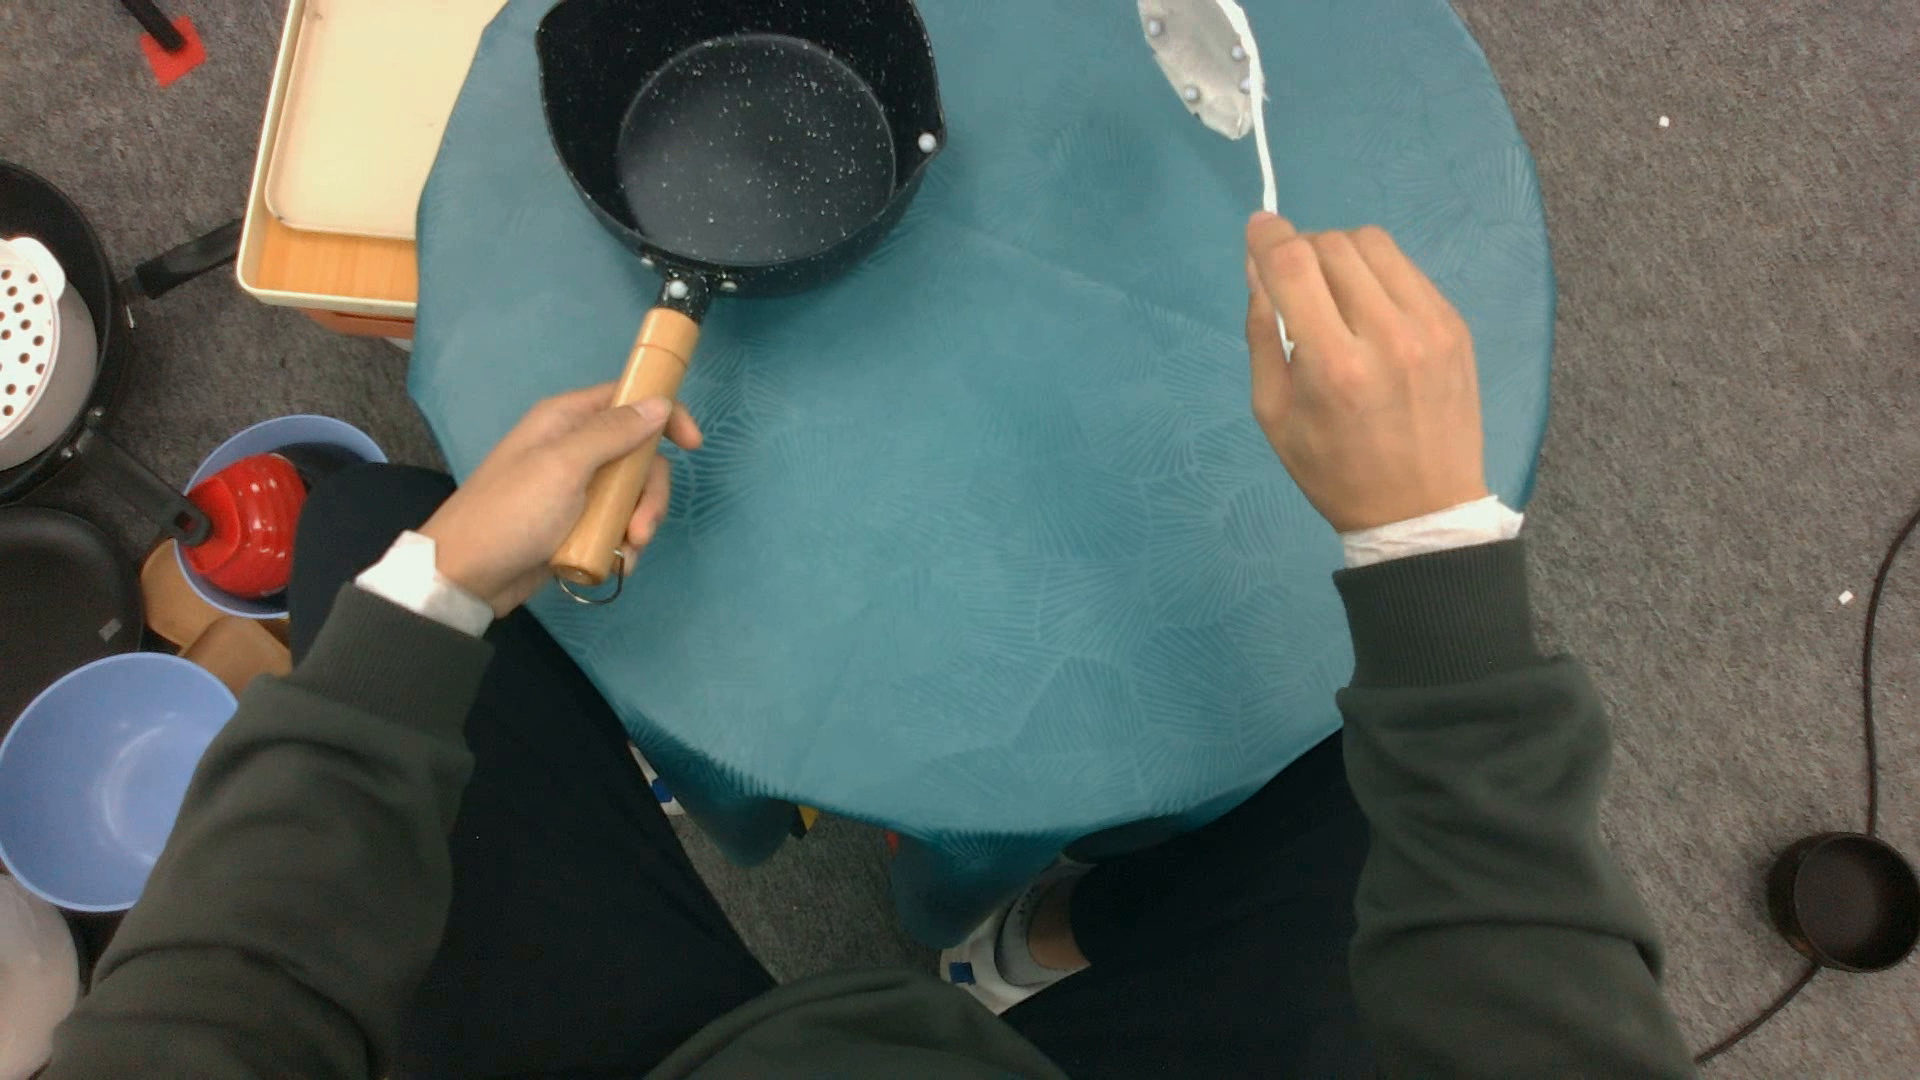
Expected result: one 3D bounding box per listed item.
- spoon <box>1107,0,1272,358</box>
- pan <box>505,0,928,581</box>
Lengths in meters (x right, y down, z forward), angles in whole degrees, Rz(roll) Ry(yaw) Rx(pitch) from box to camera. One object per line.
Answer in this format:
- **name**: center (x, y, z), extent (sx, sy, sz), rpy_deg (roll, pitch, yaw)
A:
- **spoon**: center (0.098, -0.166, 0.611), extent (0.059, 0.100, 0.279), rpy_deg (-13, 46, 20)
- **pan**: center (-0.132, -0.135, 0.664), extent (0.207, 0.108, 0.343), rpy_deg (13, 76, -2)
